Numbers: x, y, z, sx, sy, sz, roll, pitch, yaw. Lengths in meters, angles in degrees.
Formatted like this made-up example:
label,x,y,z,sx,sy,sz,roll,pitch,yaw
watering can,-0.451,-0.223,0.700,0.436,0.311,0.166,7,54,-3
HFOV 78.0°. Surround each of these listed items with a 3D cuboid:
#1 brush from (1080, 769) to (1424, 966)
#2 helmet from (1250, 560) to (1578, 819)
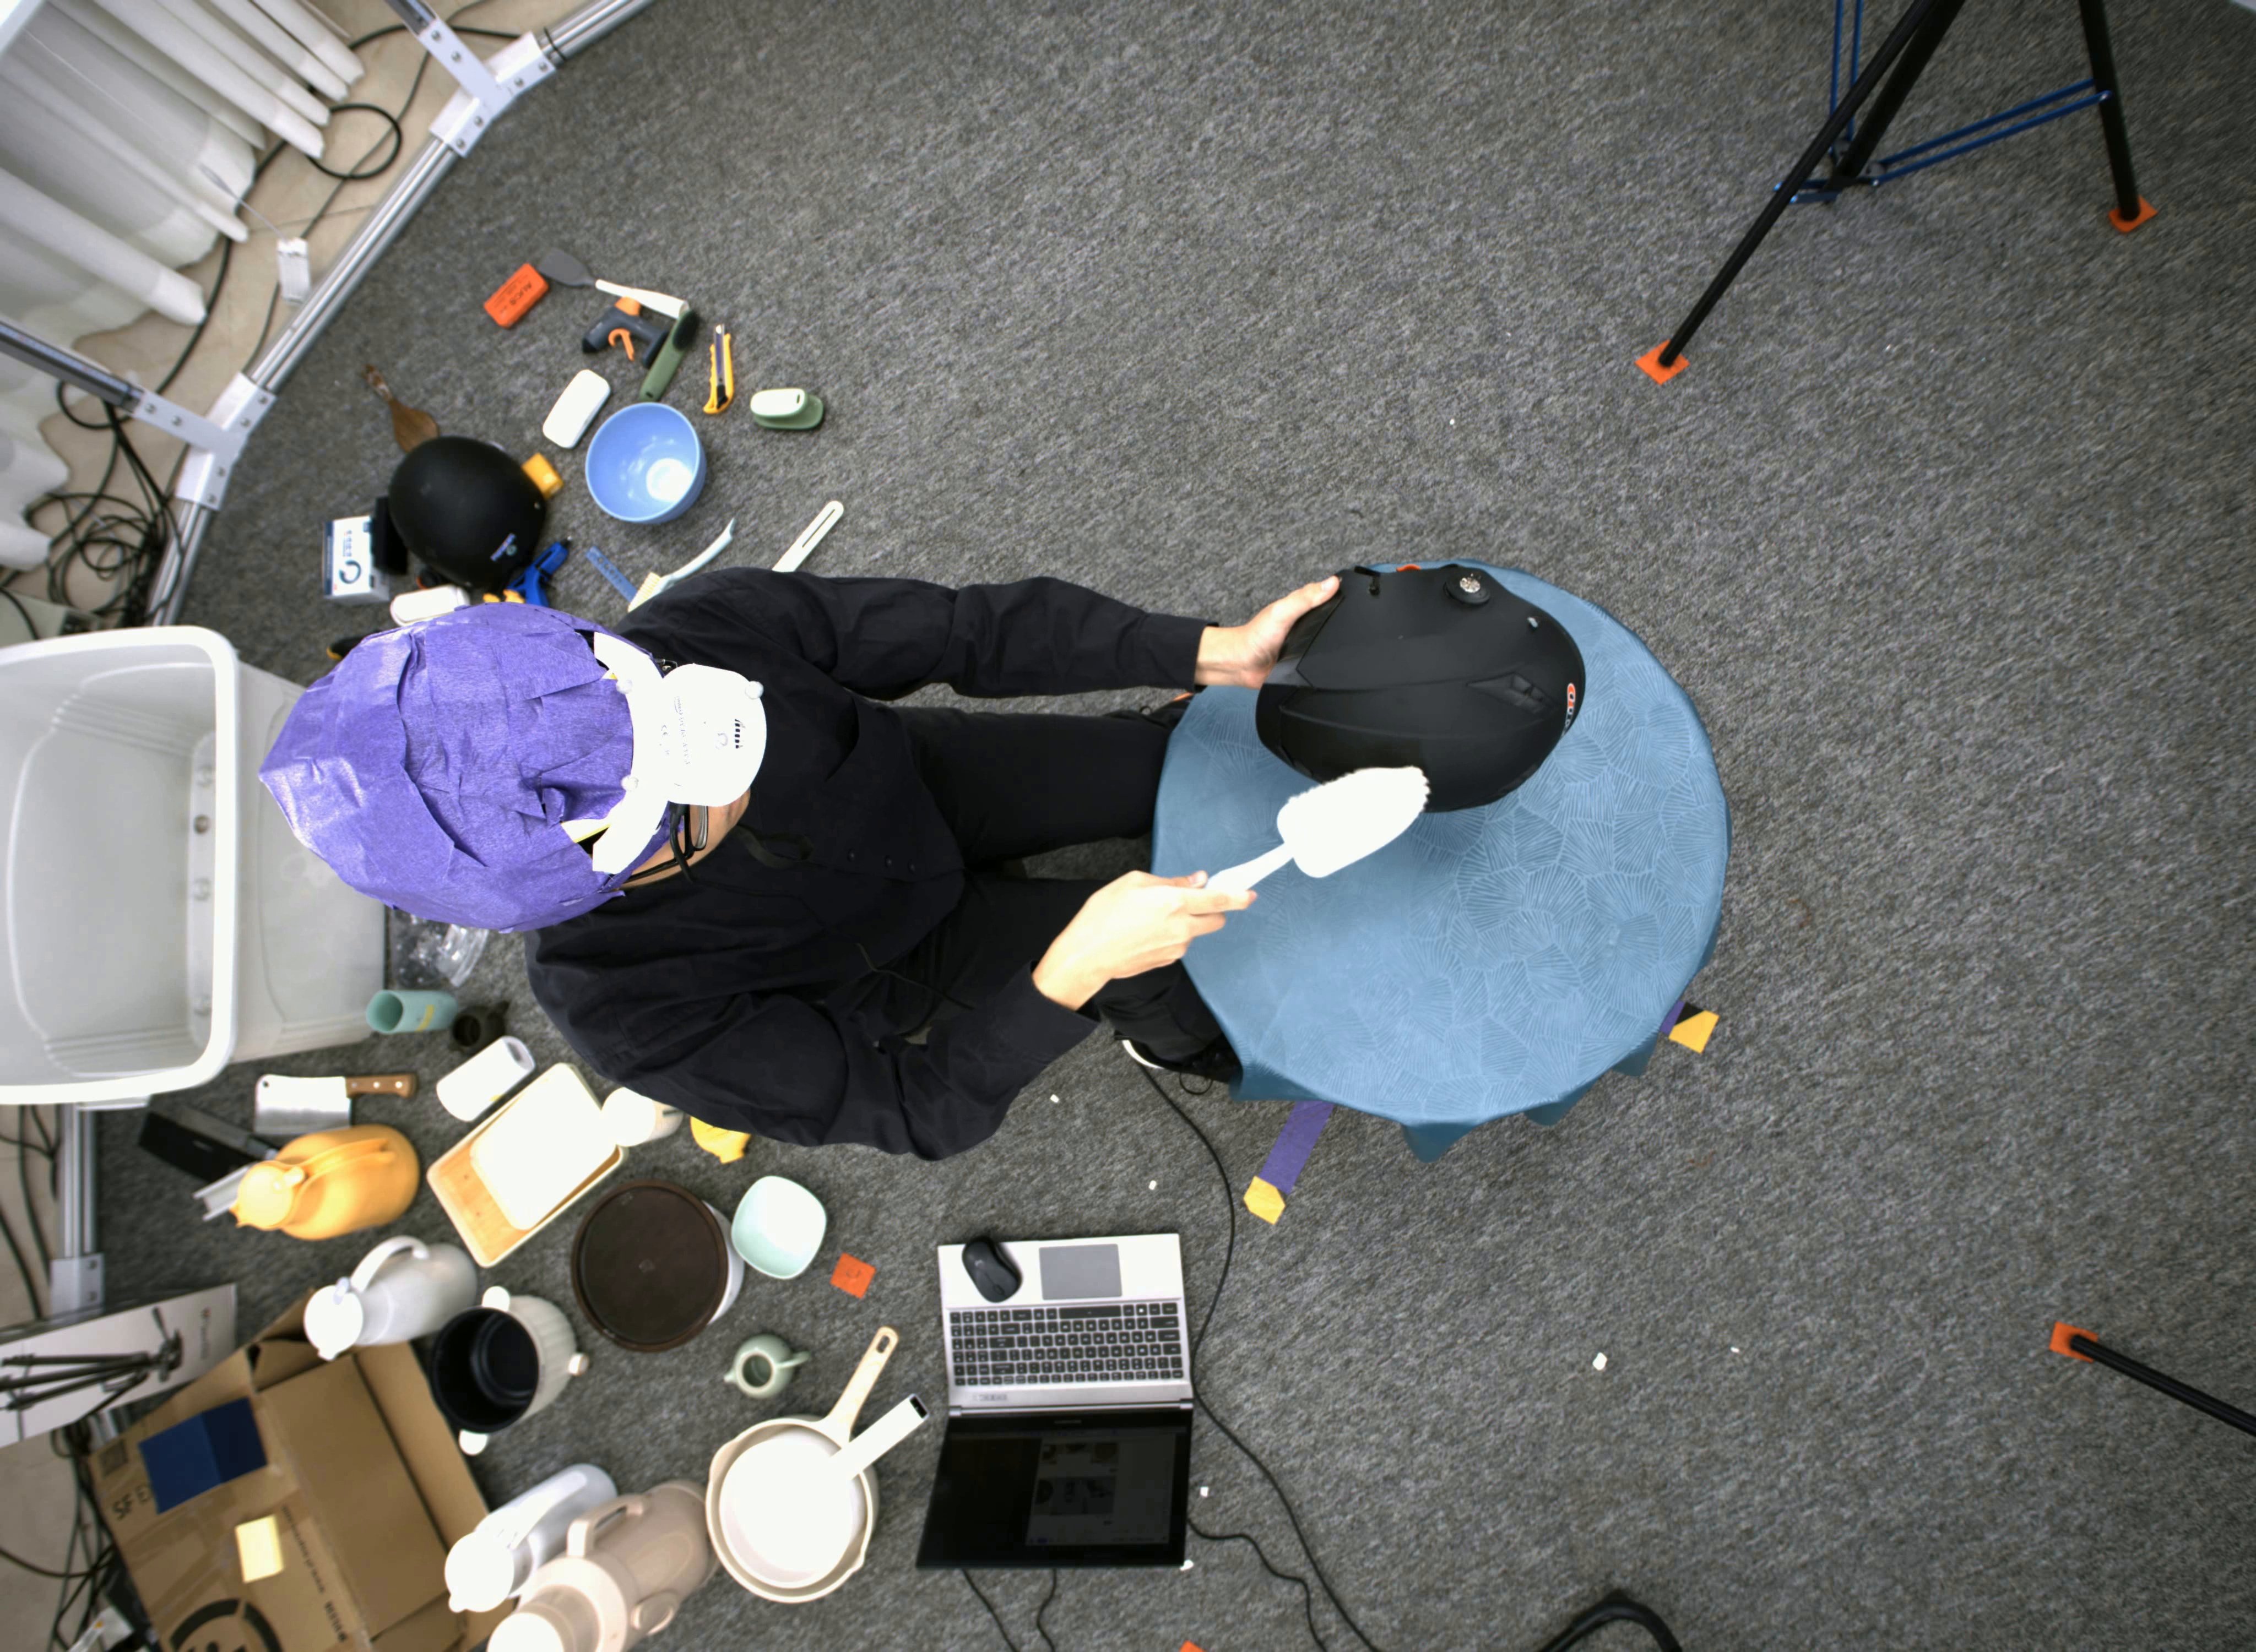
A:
label,x,y,z,sx,sy,sz,roll,pitch,yaw
brush,0.104,0.034,1.203,0.328,0.085,0.081,-27,56,12
helmet,0.252,-0.105,1.222,0.277,0.253,0.168,10,48,12
